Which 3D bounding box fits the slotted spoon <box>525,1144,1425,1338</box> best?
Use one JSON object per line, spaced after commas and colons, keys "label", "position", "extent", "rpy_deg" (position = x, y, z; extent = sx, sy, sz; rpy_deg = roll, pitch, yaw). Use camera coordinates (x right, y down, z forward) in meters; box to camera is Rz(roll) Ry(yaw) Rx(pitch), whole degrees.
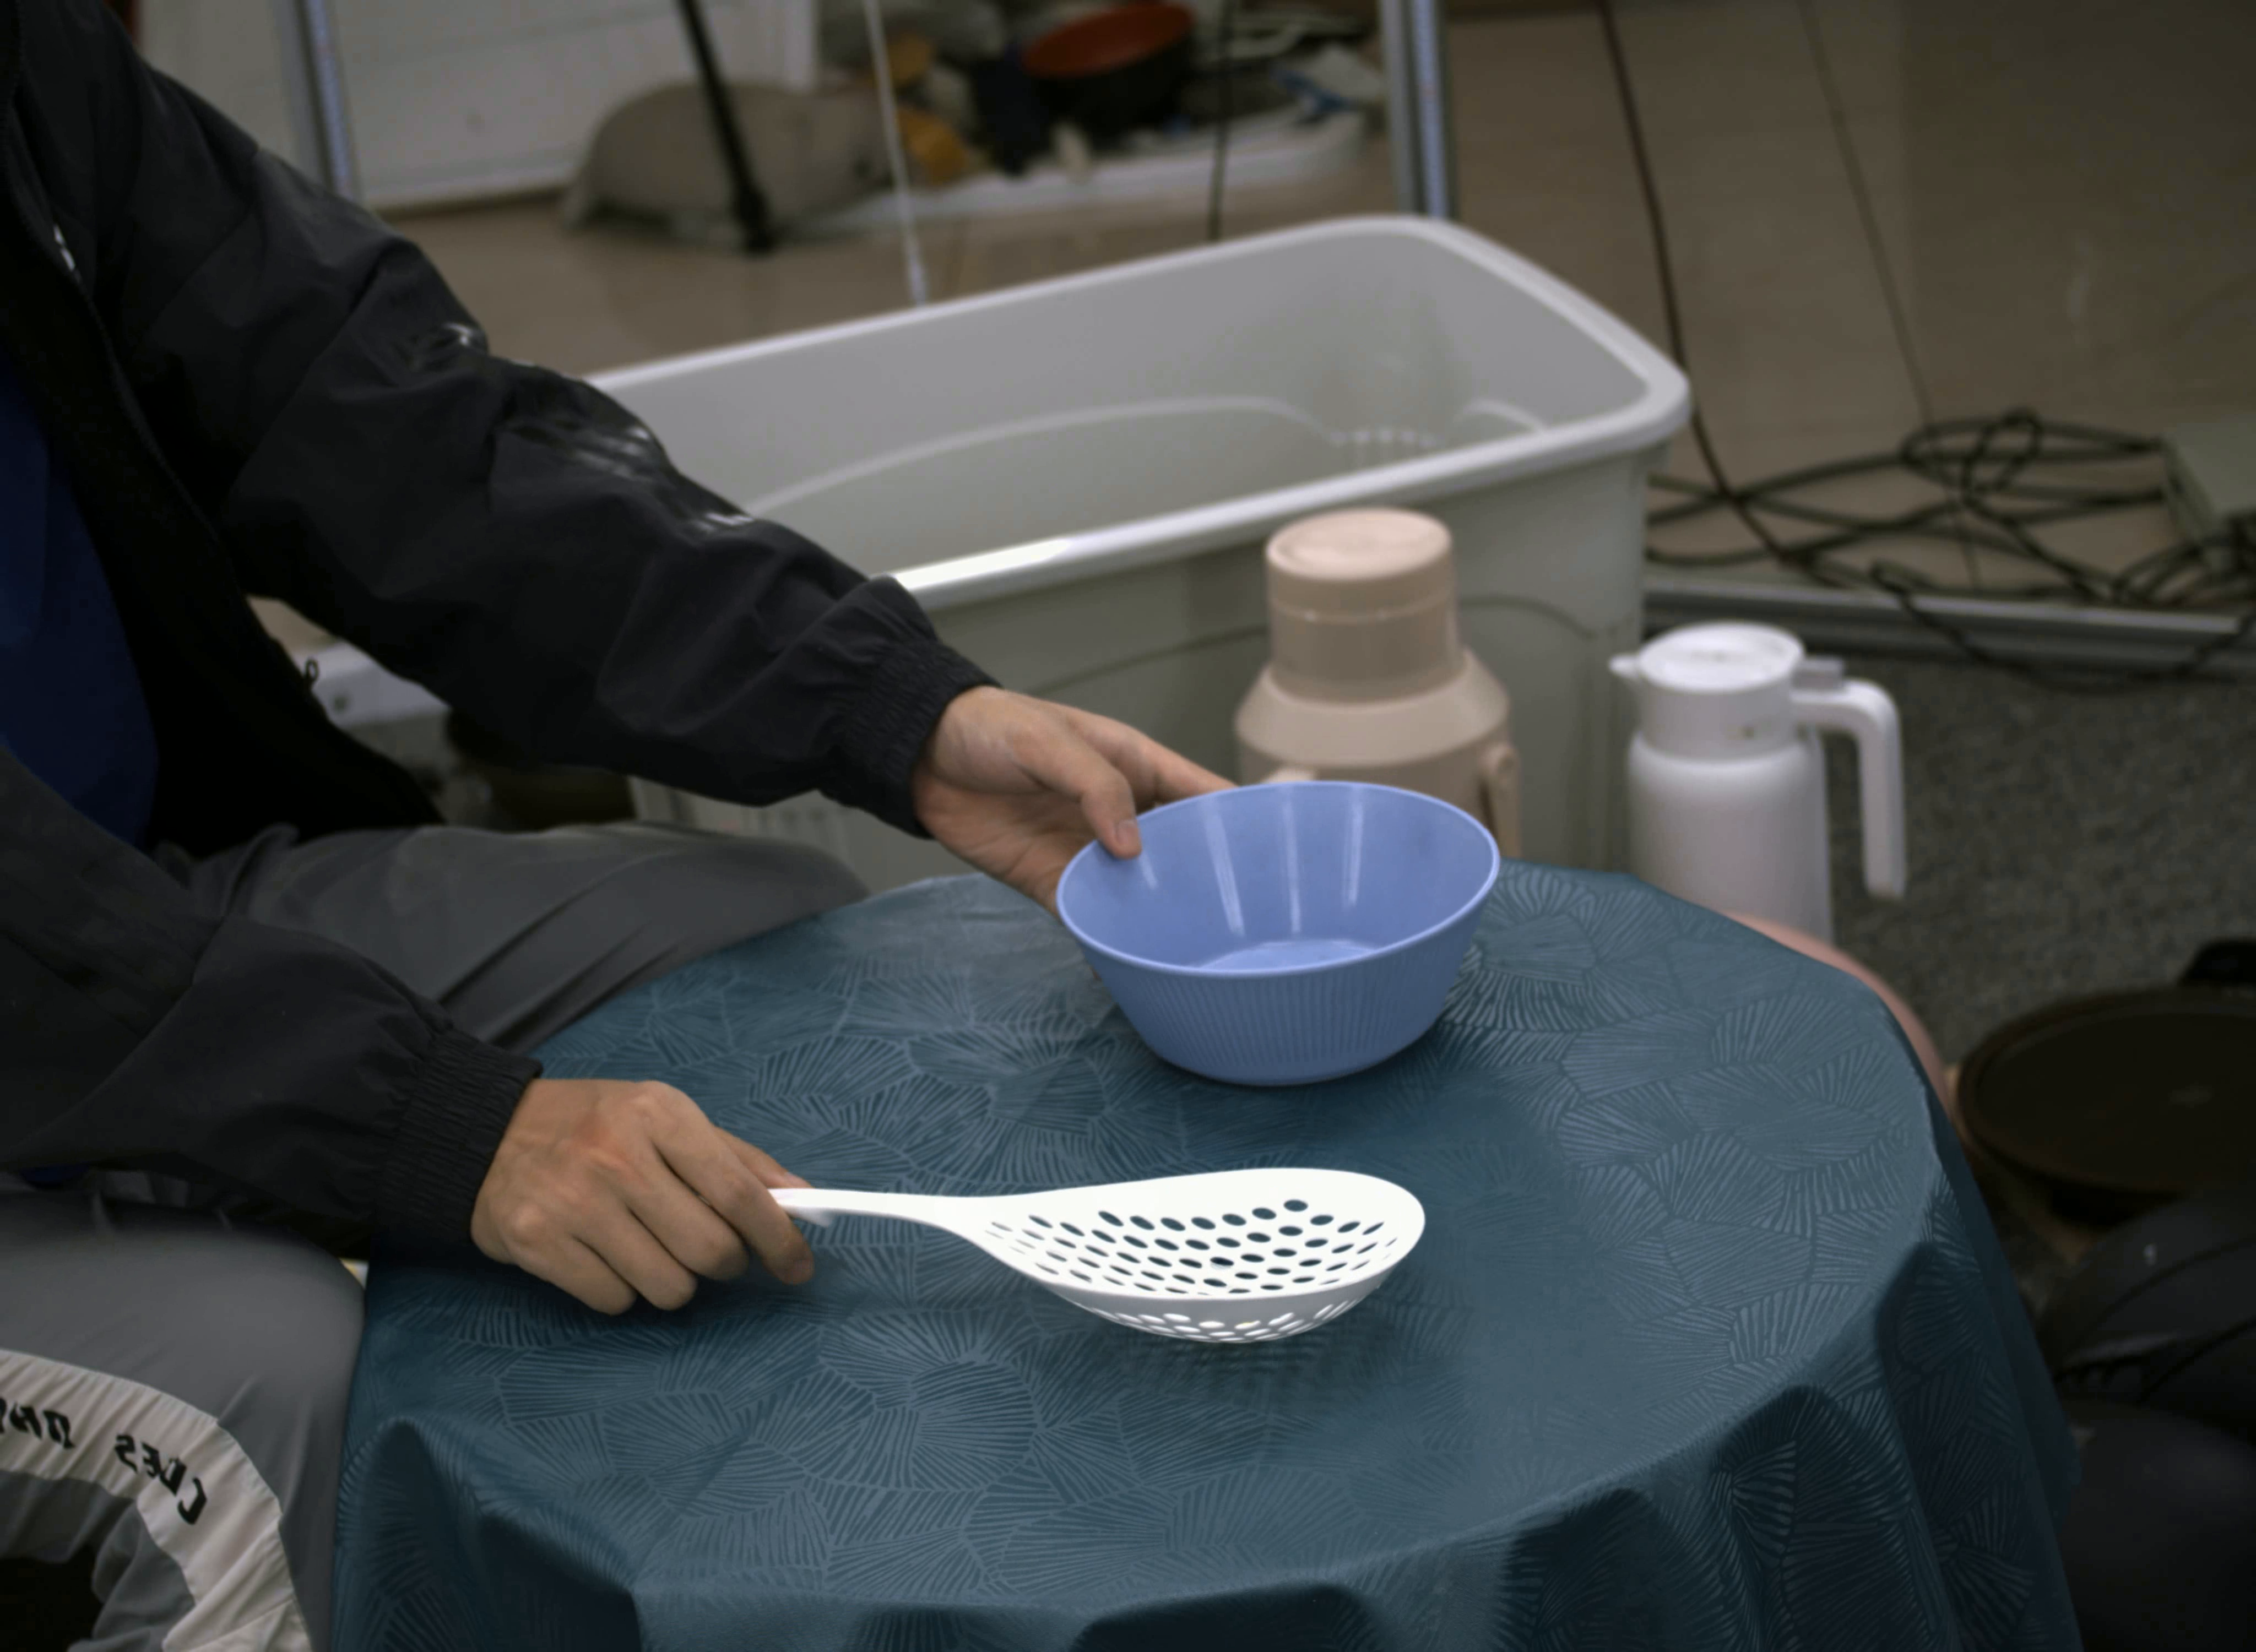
{"label": "slotted spoon", "position": [-0.061, 0.151, 2.074], "extent": [0.347, 0.051, 0.135], "rpy_deg": [4, 20, 20]}

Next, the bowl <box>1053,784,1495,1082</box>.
{"label": "bowl", "position": [0.060, 0.047, 2.242], "extent": [0.176, 0.071, 0.173], "rpy_deg": [-5, 25, 2]}
